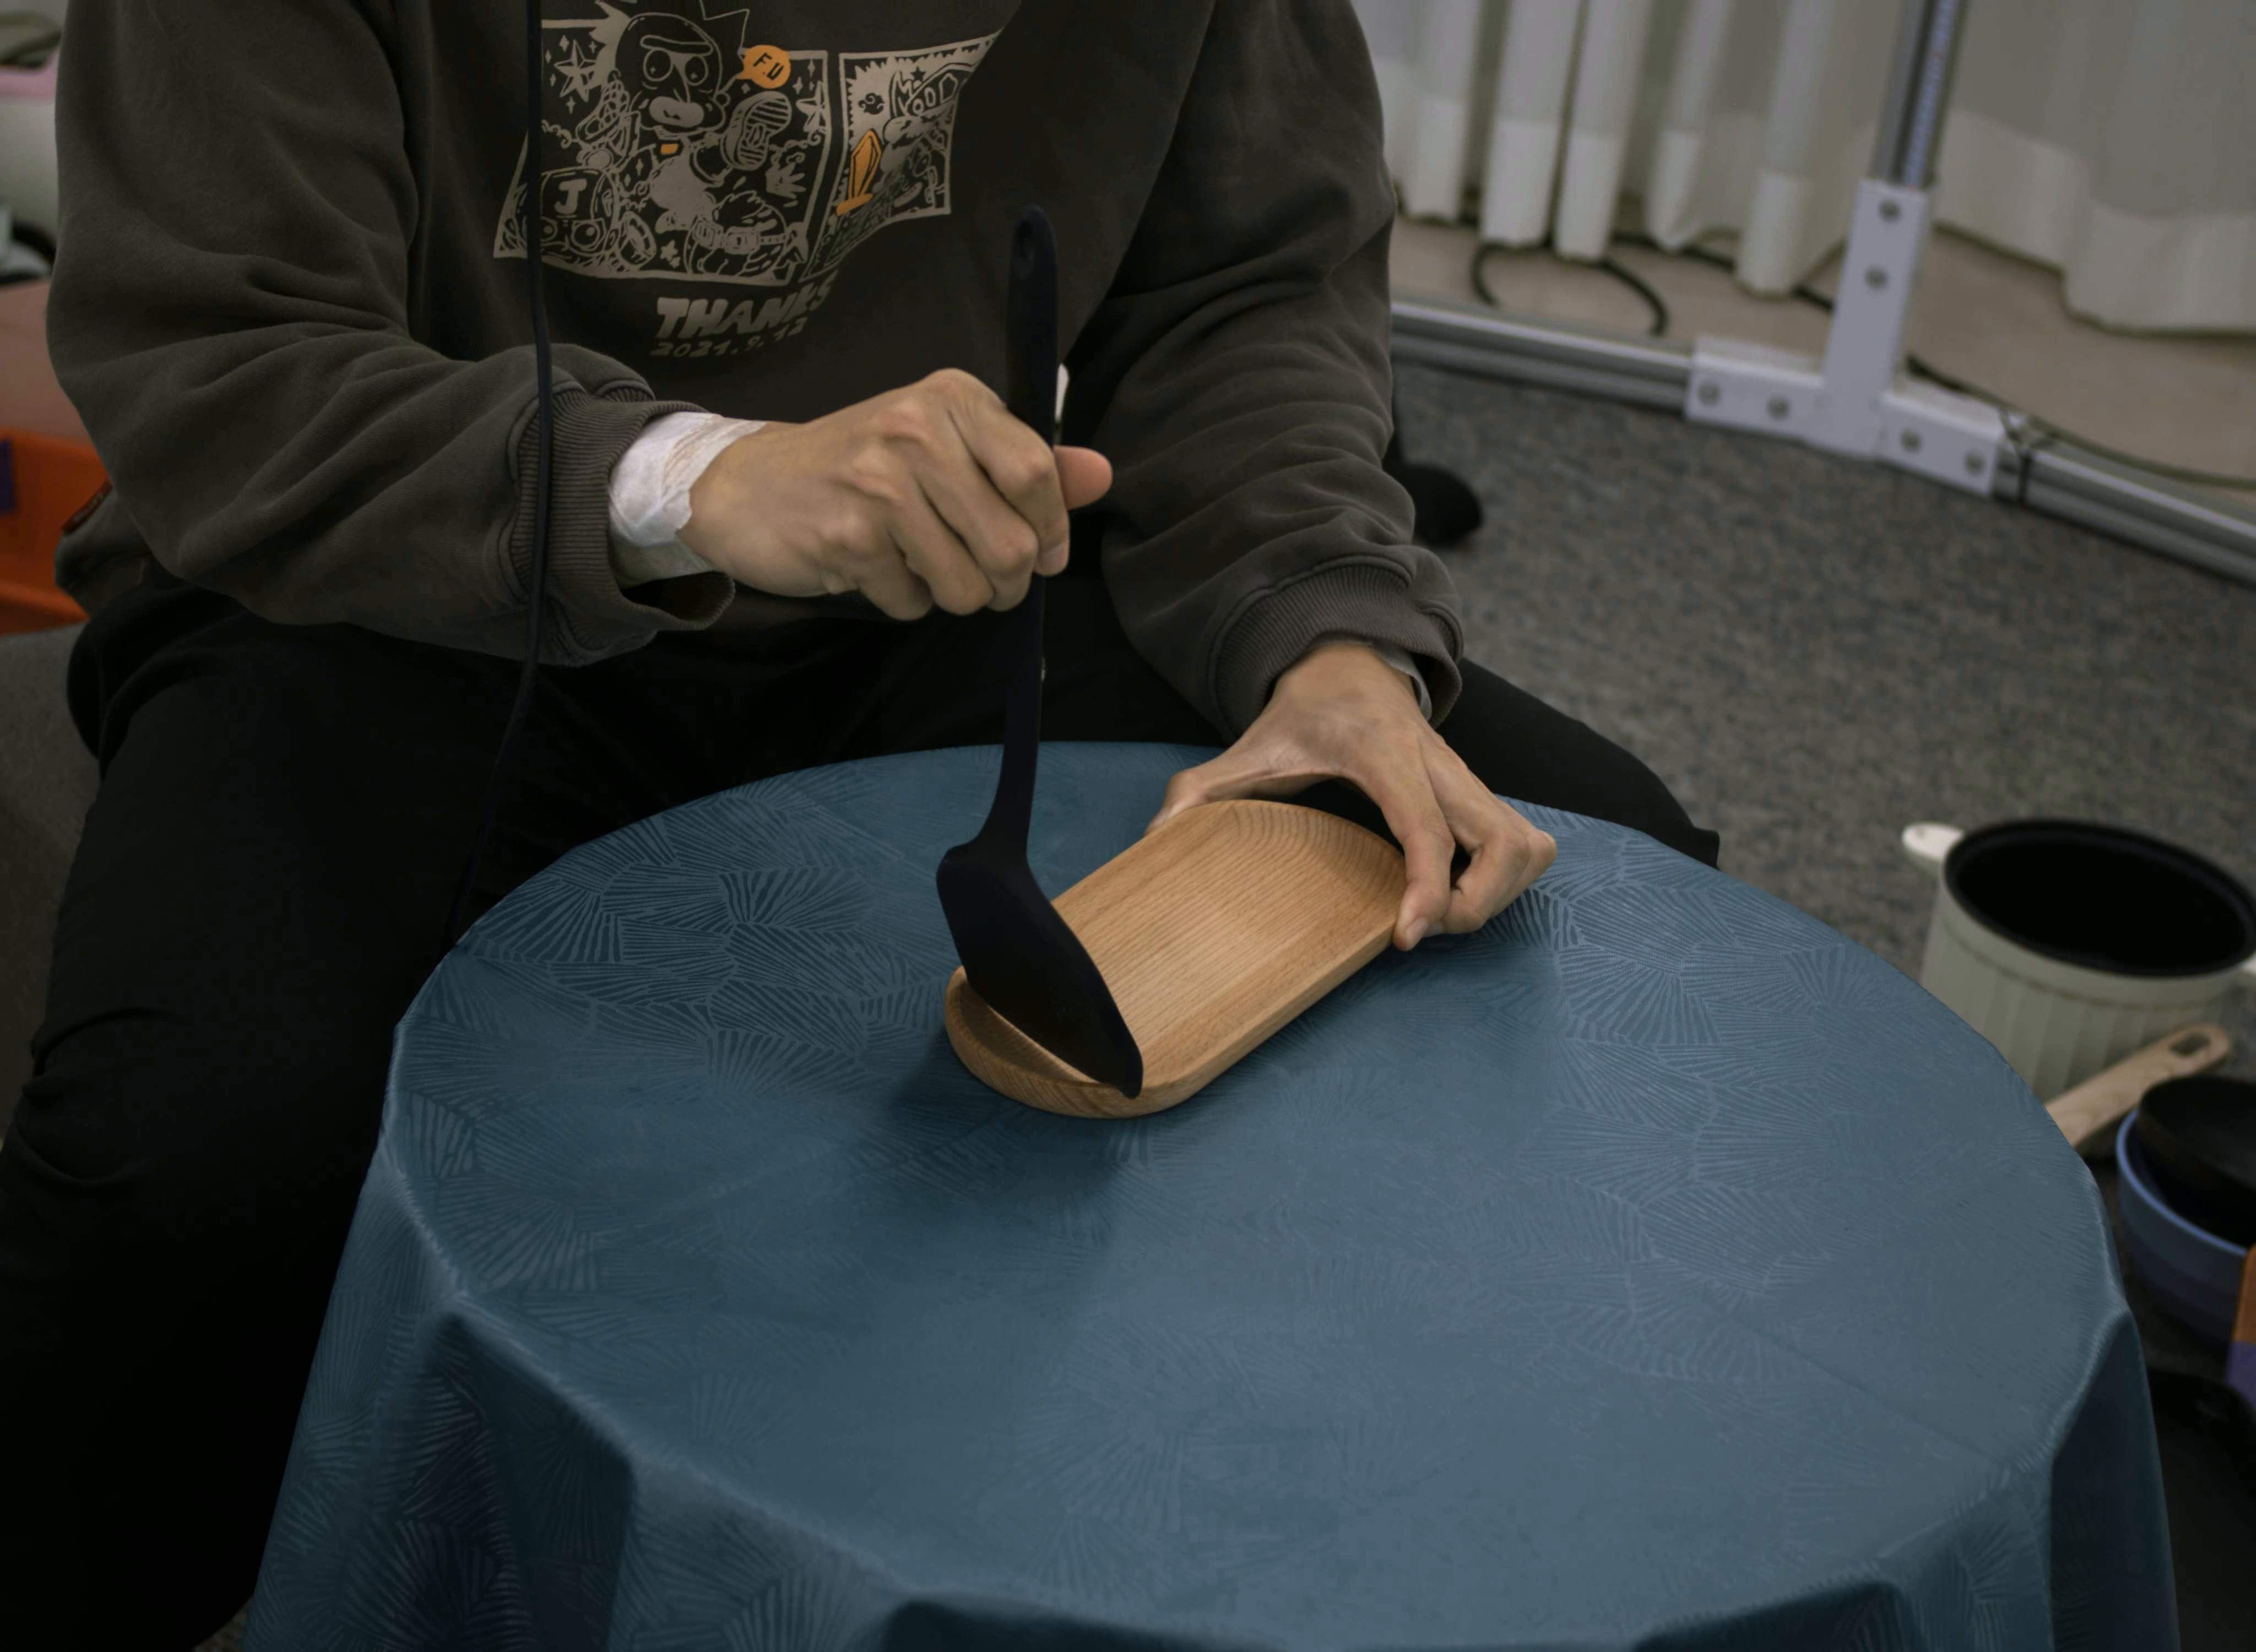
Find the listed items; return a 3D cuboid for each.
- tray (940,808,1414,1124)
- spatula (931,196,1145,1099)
[{"bbox_3d":[0.020,0.049,1.929,0.102,0.020,0.231,24,35,26],"label":"tray"},{"bbox_3d":[-0.030,-0.059,1.777,0.040,0.325,0.100,-18,34,-37],"label":"spatula"}]
